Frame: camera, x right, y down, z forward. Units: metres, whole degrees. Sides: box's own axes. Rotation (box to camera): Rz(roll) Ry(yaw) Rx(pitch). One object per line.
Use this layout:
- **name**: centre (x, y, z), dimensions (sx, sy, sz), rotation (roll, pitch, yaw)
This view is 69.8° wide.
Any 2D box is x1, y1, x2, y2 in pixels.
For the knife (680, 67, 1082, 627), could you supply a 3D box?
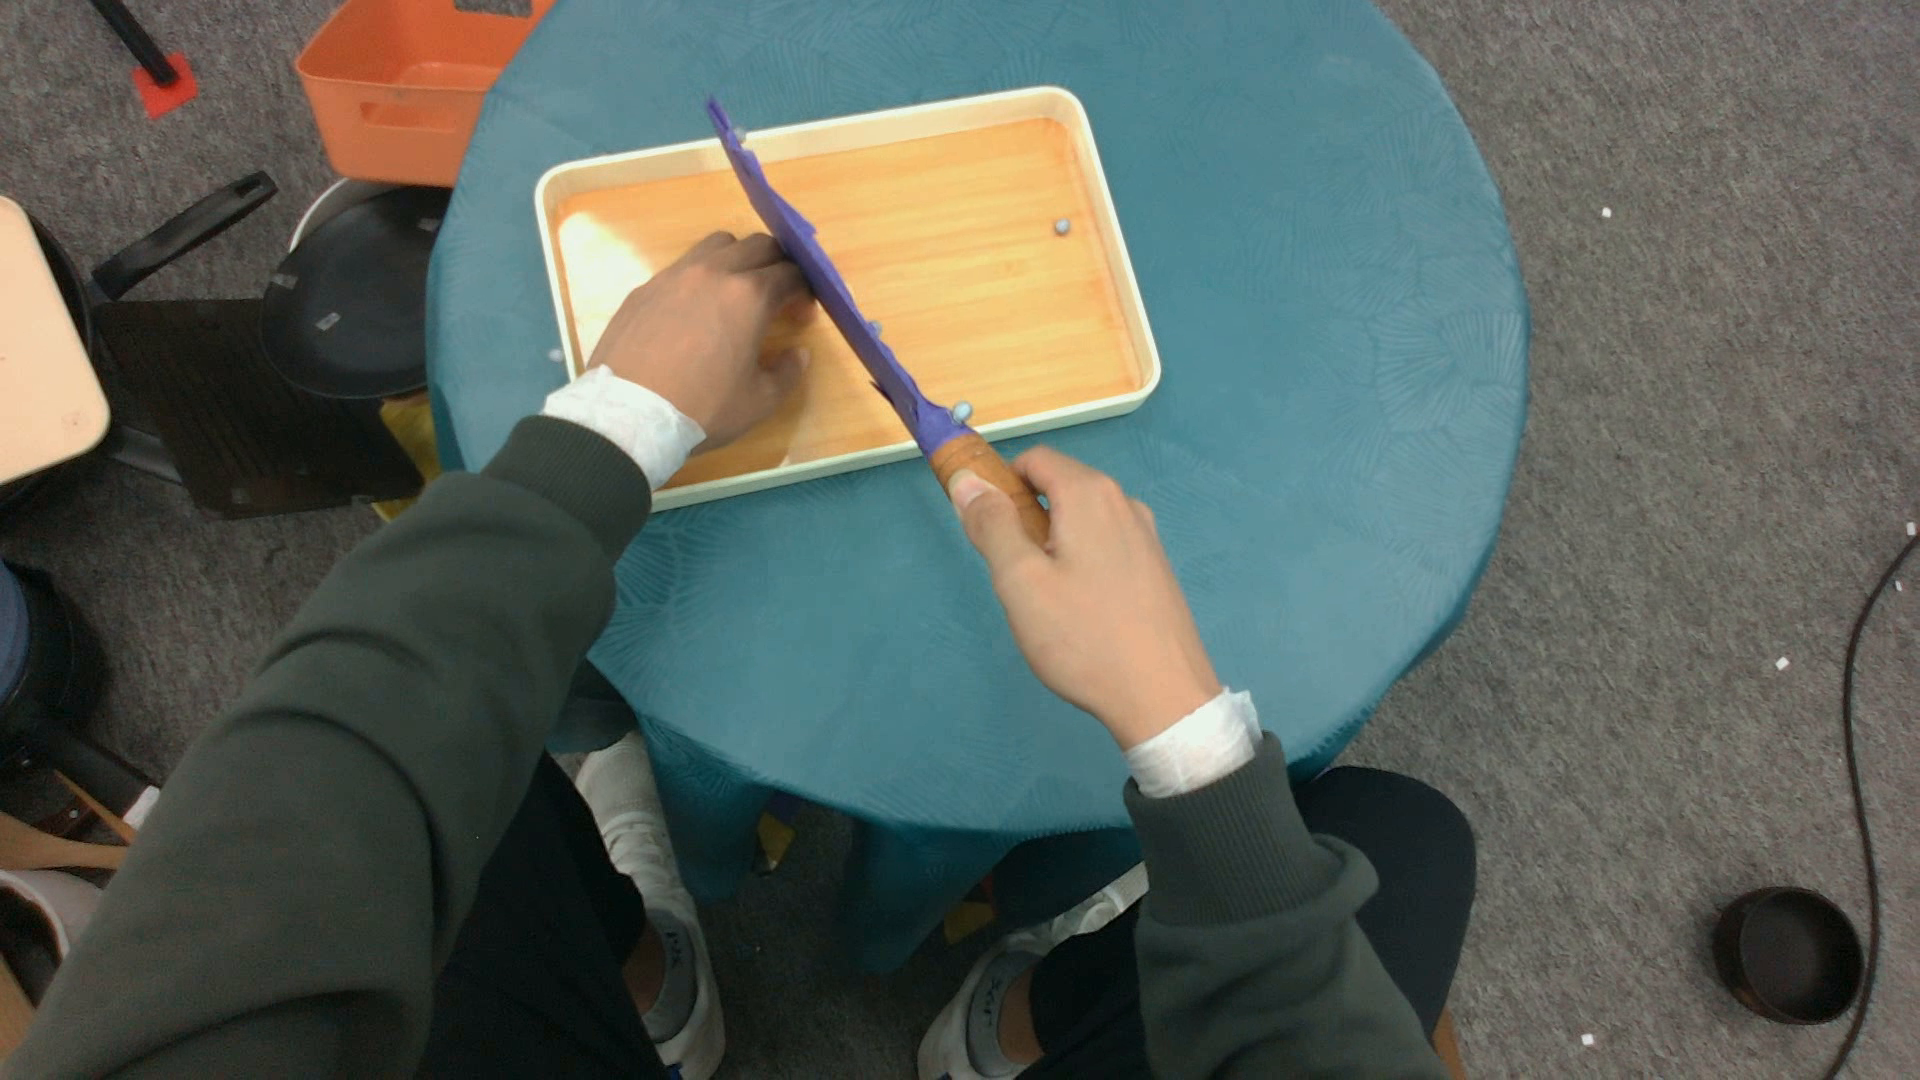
- **knife**: centre (-0.040, -0.085, 0.632), dimensions (0.032, 0.103, 0.316), rotation (-32, 70, -4)

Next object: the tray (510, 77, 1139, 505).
- **tray**: centre (-0.070, -0.137, 0.730), dimensions (0.301, 0.027, 0.192), rotation (-13, 76, -11)
